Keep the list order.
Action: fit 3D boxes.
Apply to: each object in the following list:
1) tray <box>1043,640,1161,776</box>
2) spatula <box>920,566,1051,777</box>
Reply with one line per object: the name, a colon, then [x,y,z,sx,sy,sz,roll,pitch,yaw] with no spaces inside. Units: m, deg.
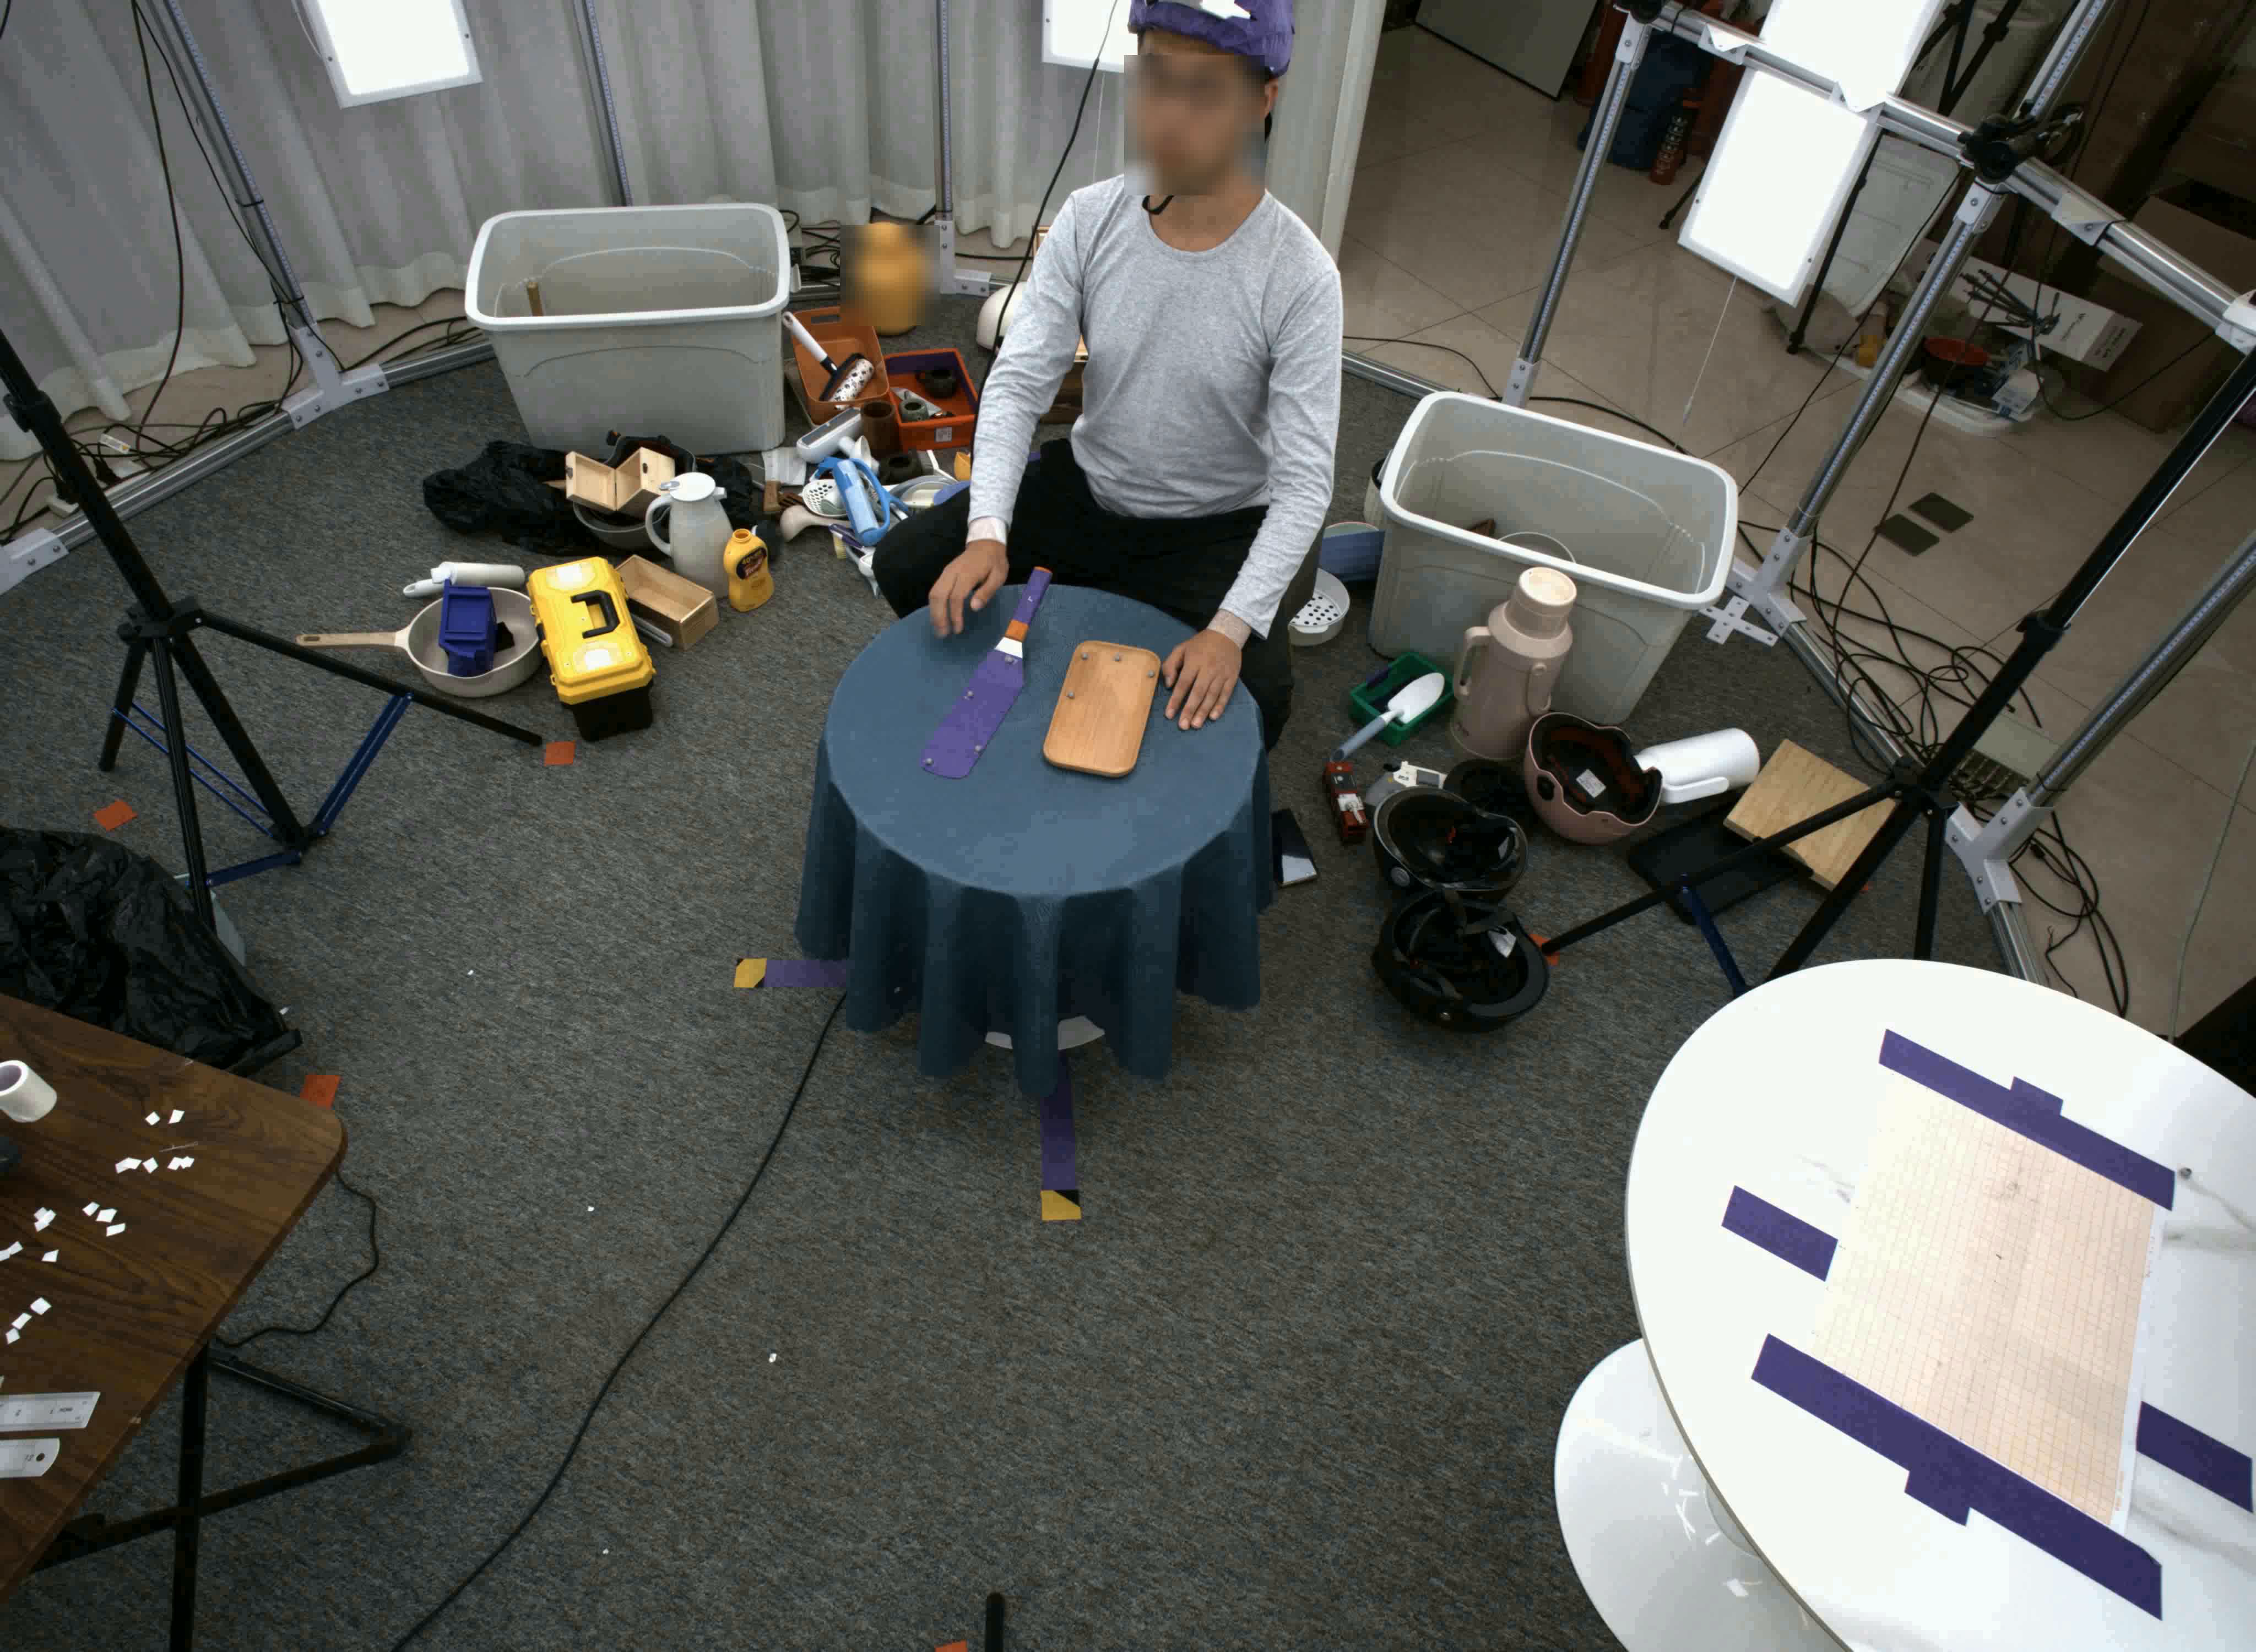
tray: [-0.034,-0.170,1.811,0.131,0.022,0.256,9,50,7]
spatula: [-0.187,-0.222,1.804,0.075,0.085,0.363,18,75,9]
